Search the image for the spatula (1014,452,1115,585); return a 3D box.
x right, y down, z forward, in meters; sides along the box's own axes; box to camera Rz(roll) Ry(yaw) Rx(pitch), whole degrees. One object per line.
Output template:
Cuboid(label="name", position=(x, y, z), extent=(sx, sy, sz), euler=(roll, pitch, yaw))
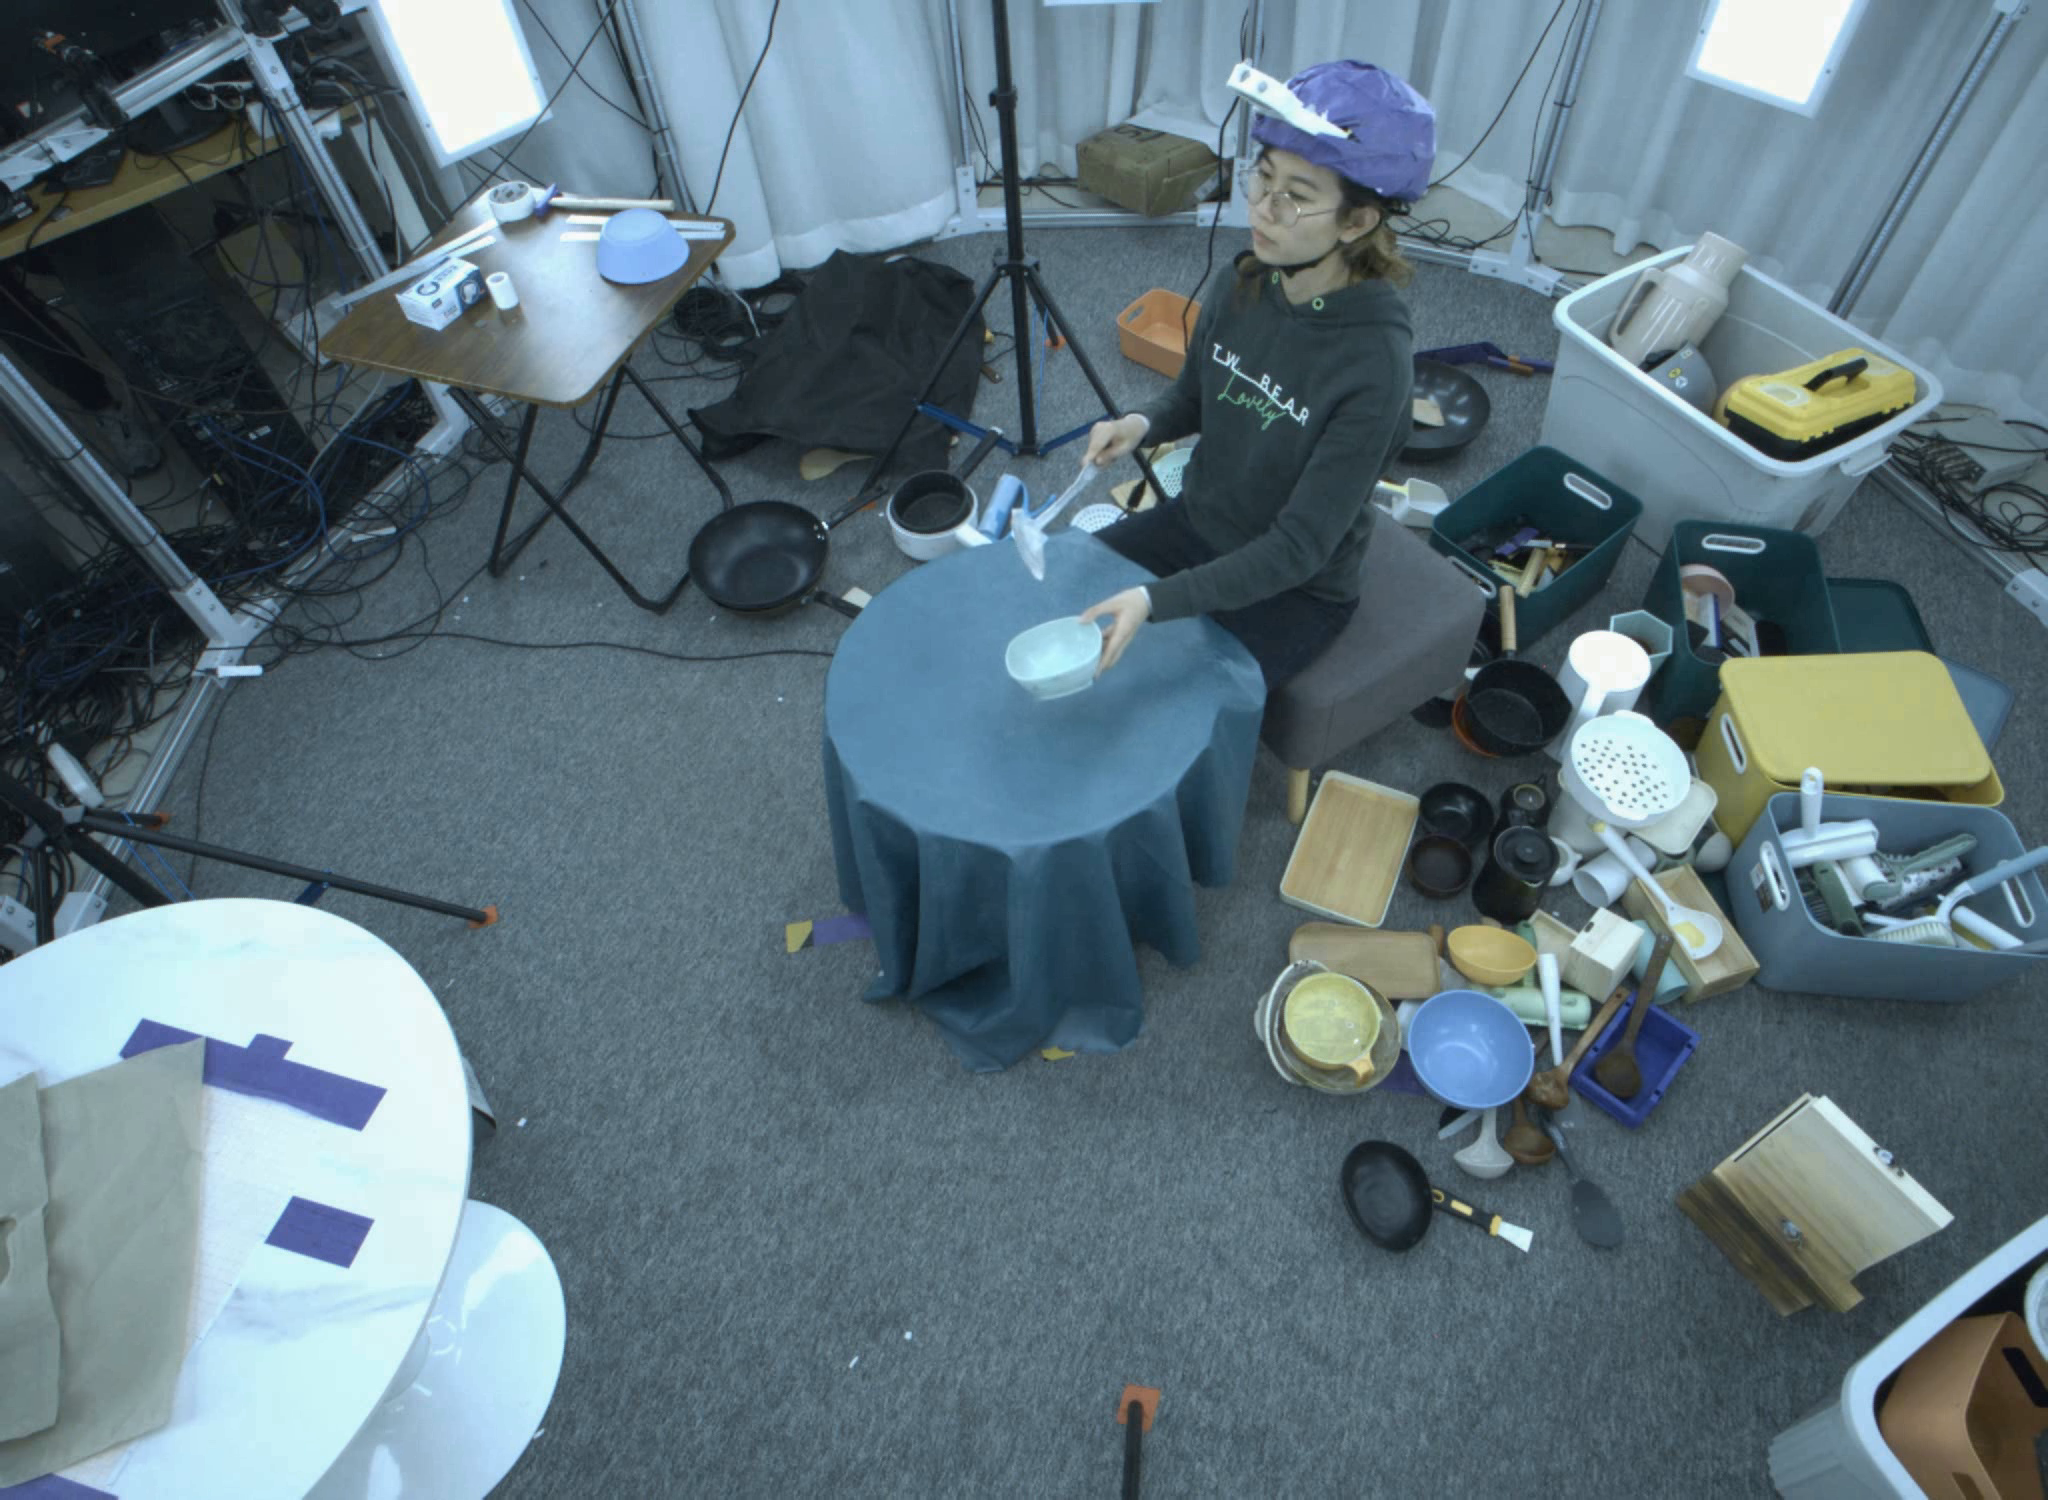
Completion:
Cuboid(label="spatula", position=(0.070, -0.365, 1.803), extent=(0.044, 0.100, 0.366), euler=(-8, 33, 39))

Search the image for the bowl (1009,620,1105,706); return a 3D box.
Cuboid(label="bowl", position=(0.053, -0.115, 1.740), extent=(0.150, 0.059, 0.150), euler=(-12, 40, 11))
